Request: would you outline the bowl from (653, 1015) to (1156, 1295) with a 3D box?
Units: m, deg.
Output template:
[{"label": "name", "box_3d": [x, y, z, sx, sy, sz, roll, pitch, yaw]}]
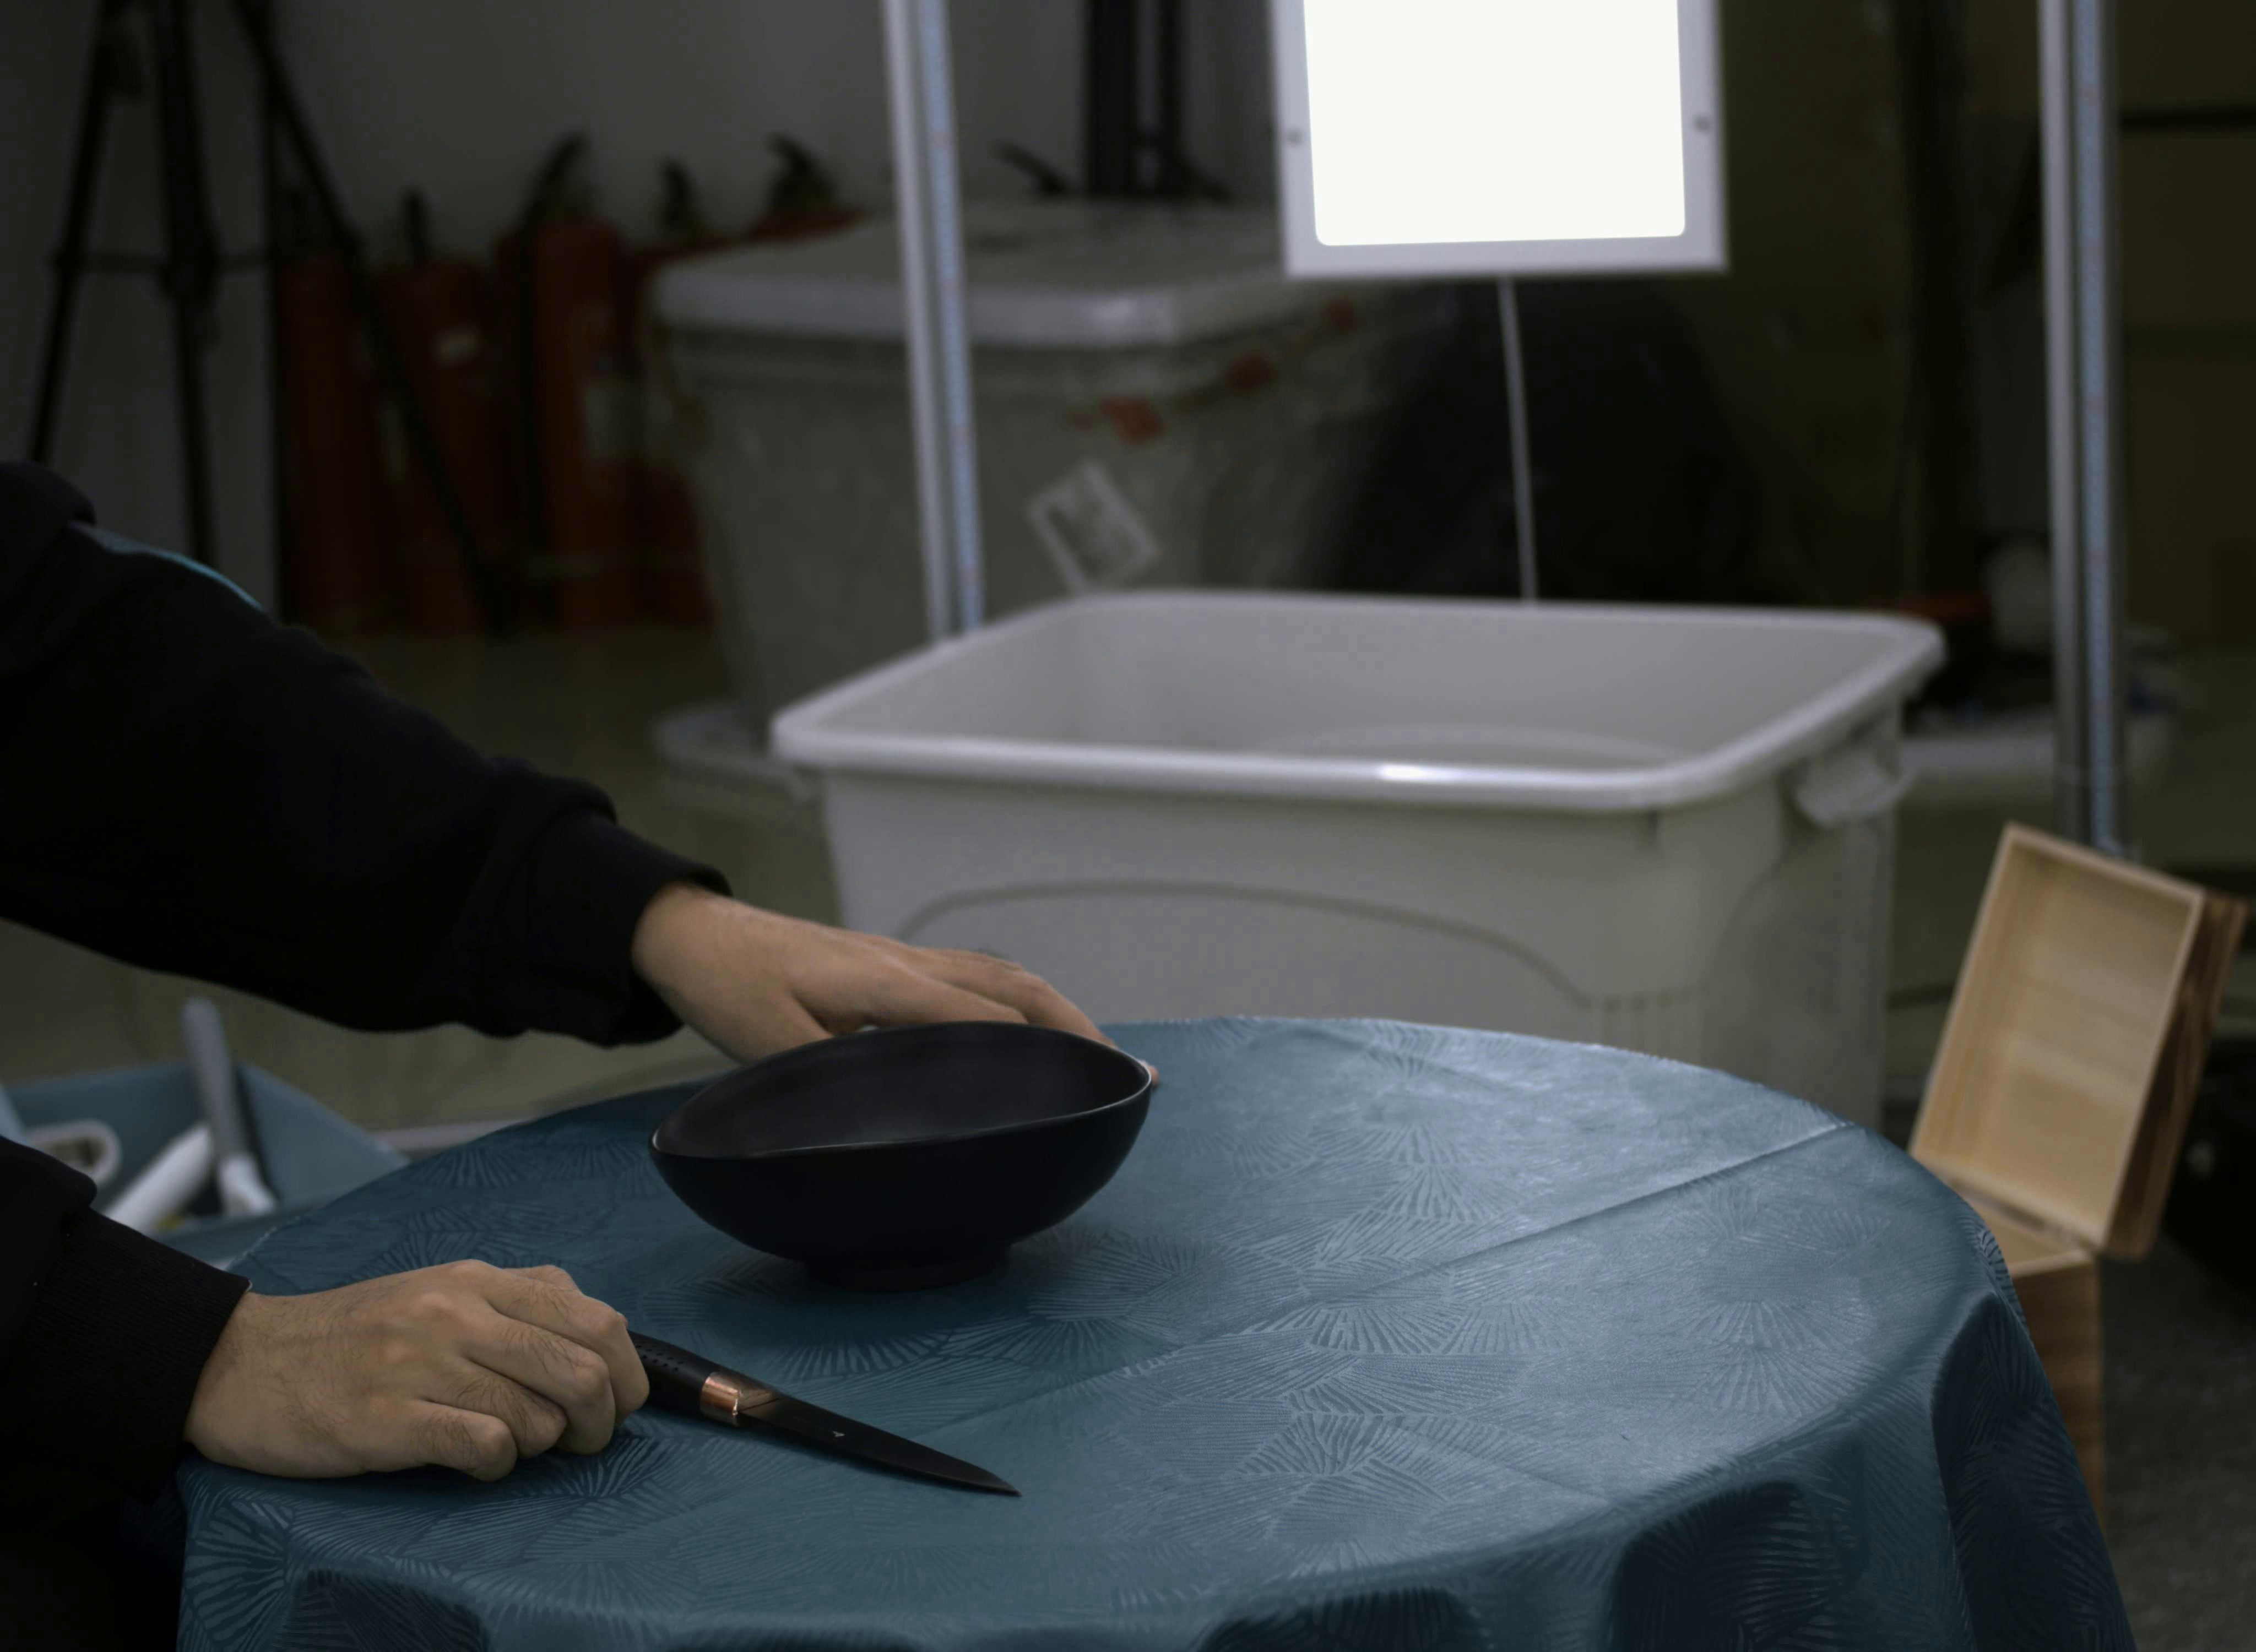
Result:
[{"label": "bowl", "box_3d": [-0.072, 0.115, 1.836, 0.170, 0.067, 0.137, -7, 14, 0]}]

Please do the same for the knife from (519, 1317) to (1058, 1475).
[{"label": "knife", "box_3d": [-0.108, 0.178, 1.702, 0.230, 0.017, 0.025, 9, 25, 43]}]
